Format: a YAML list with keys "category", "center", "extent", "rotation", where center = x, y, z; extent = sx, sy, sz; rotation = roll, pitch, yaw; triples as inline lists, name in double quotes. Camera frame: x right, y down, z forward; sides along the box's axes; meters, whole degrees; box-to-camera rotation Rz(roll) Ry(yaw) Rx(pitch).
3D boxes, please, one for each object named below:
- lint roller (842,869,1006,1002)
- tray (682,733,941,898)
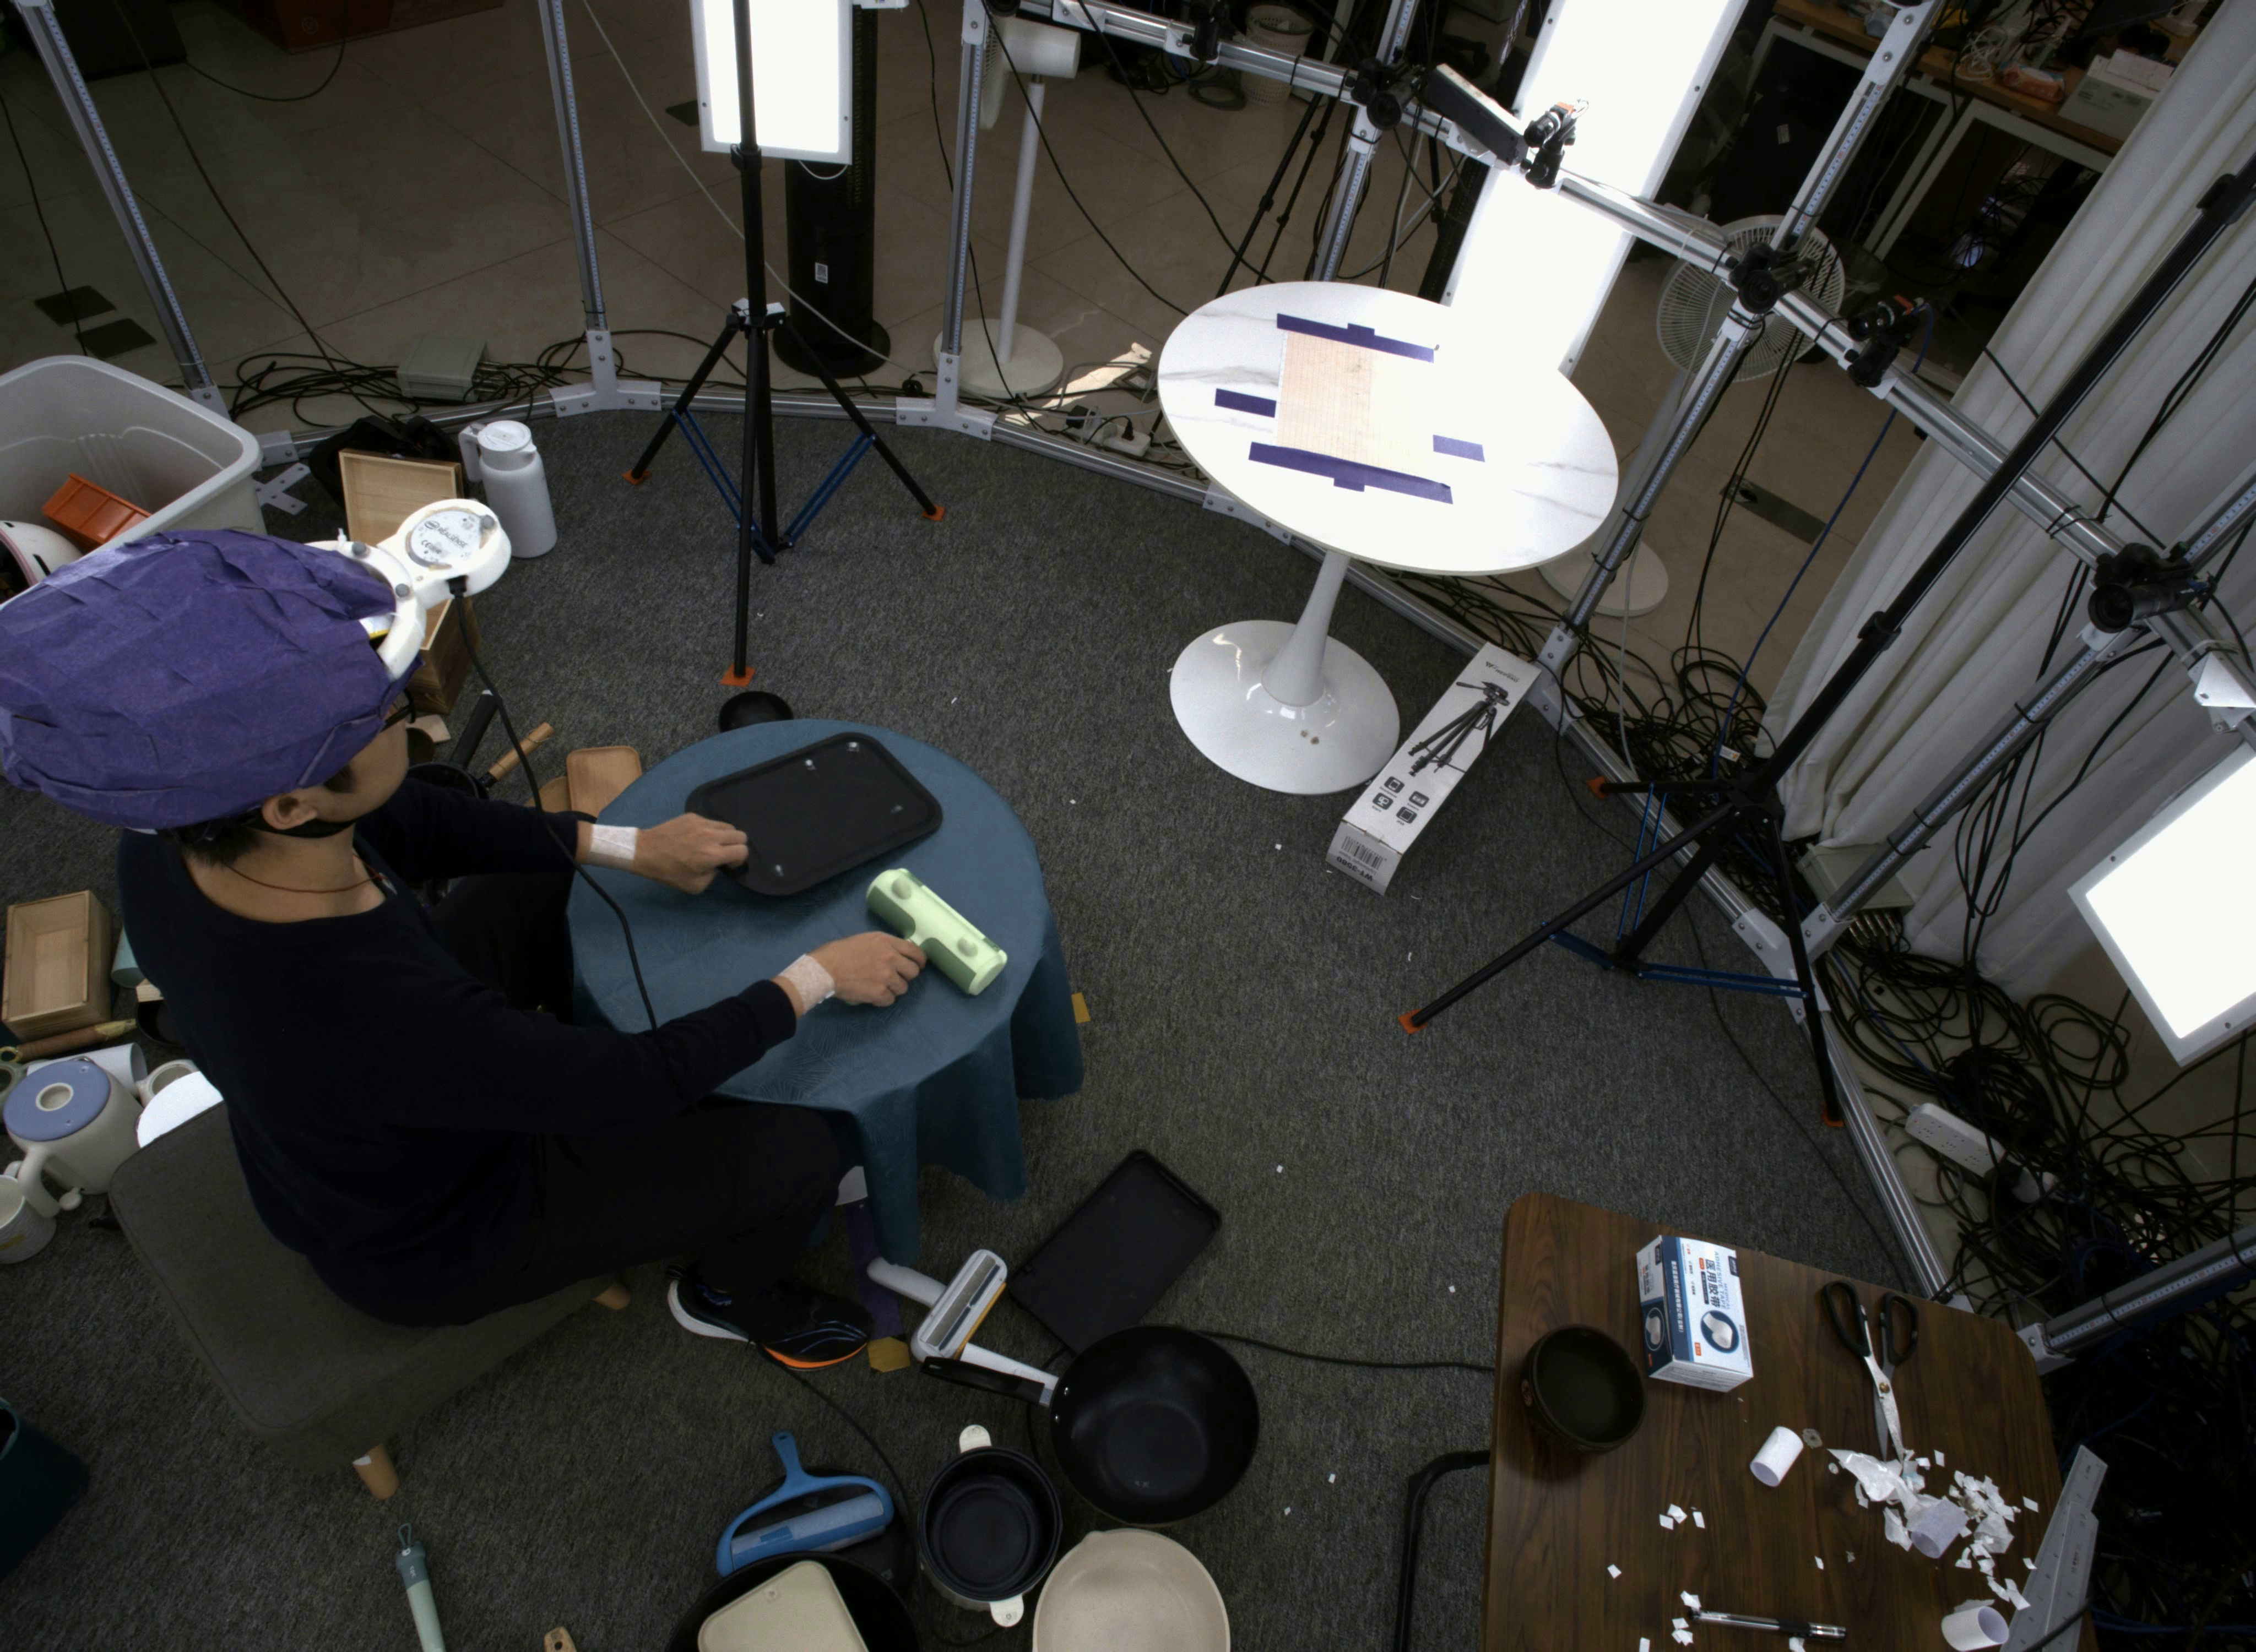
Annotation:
- category: "lint roller"
  center: [-0.274, 0.144, 1.583]
  extent: [0.194, 0.083, 0.184]
  rotation: [39, 41, 15]
- category: "tray"
  center: [-0.413, -0.020, 1.692]
  extent: [0.206, 0.010, 0.327]
  rotation: [44, 45, 19]
